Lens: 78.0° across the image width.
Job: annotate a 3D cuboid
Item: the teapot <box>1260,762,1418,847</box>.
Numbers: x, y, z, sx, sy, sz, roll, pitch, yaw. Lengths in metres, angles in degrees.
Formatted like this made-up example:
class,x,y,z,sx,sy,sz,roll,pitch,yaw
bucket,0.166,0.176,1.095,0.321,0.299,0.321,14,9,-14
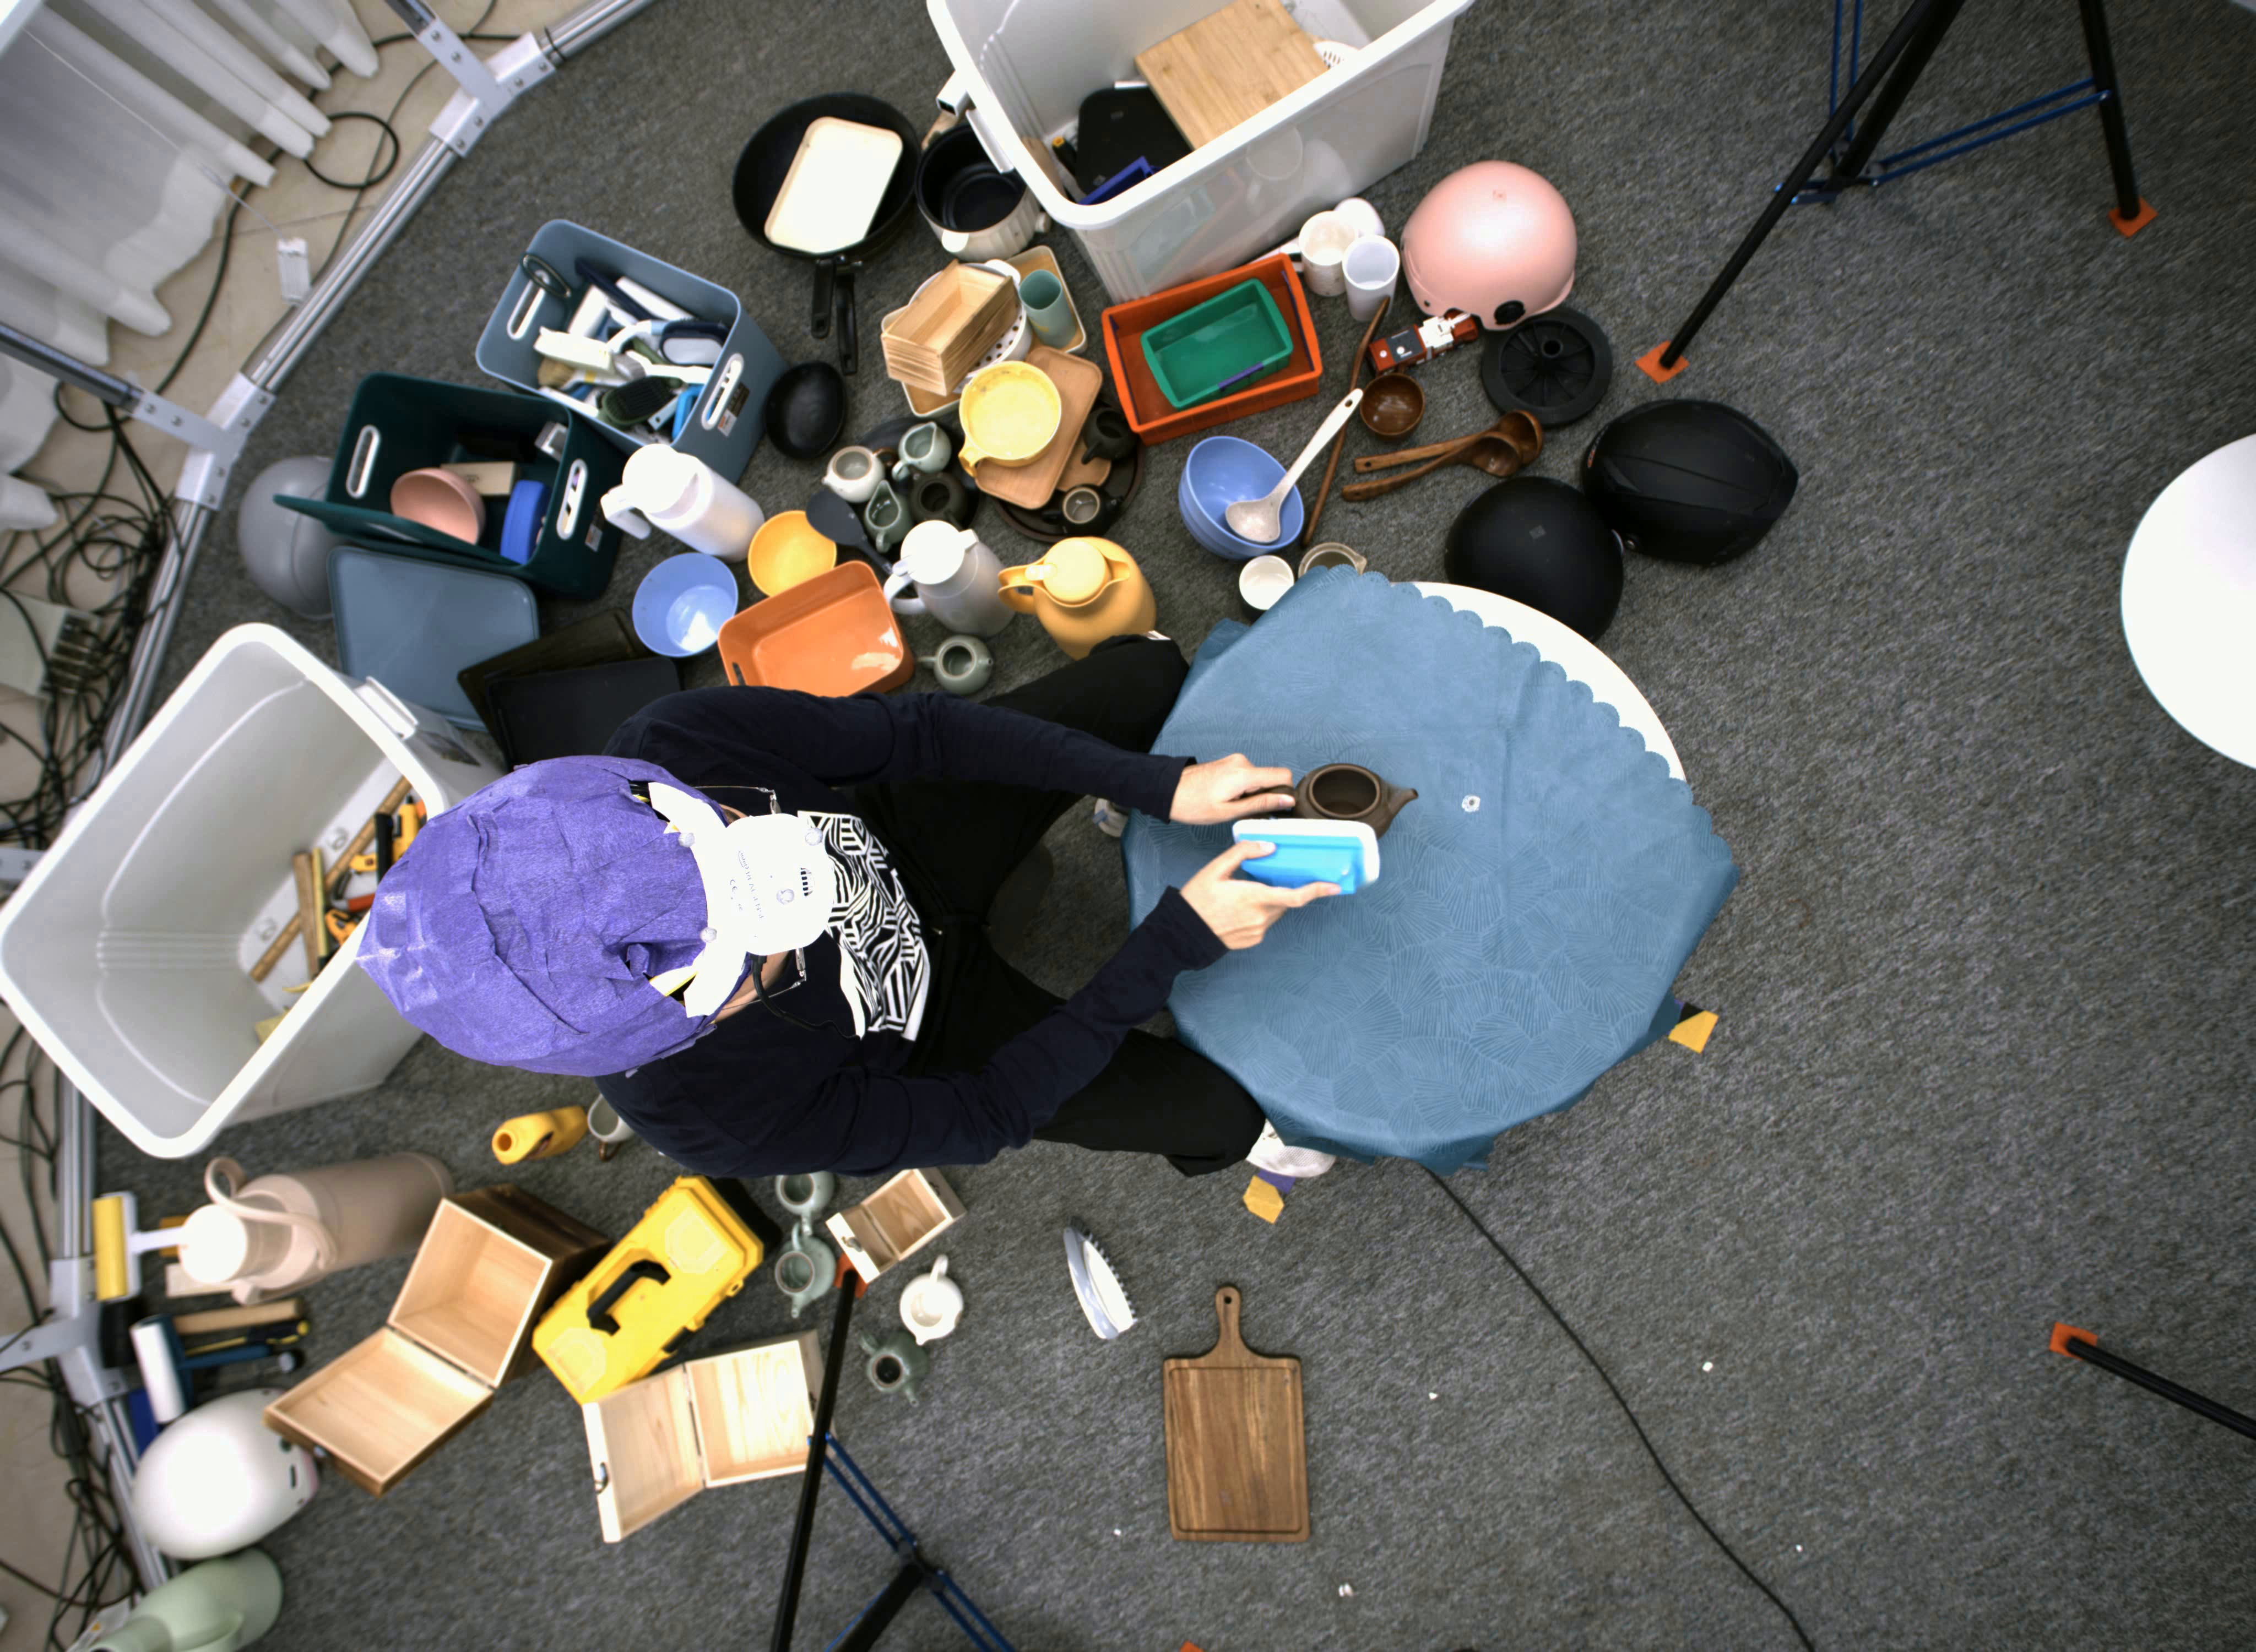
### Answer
class,x,y,z,sx,sy,sz,roll,pitch,yaw
teapot,0.209,-0.022,1.373,0.154,0.055,0.100,0,51,2

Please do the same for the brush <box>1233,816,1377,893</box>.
class,x,y,z,sx,sy,sz,roll,pitch,yaw
brush,0.171,0.036,1.361,0.144,0.054,0.086,4,131,19
